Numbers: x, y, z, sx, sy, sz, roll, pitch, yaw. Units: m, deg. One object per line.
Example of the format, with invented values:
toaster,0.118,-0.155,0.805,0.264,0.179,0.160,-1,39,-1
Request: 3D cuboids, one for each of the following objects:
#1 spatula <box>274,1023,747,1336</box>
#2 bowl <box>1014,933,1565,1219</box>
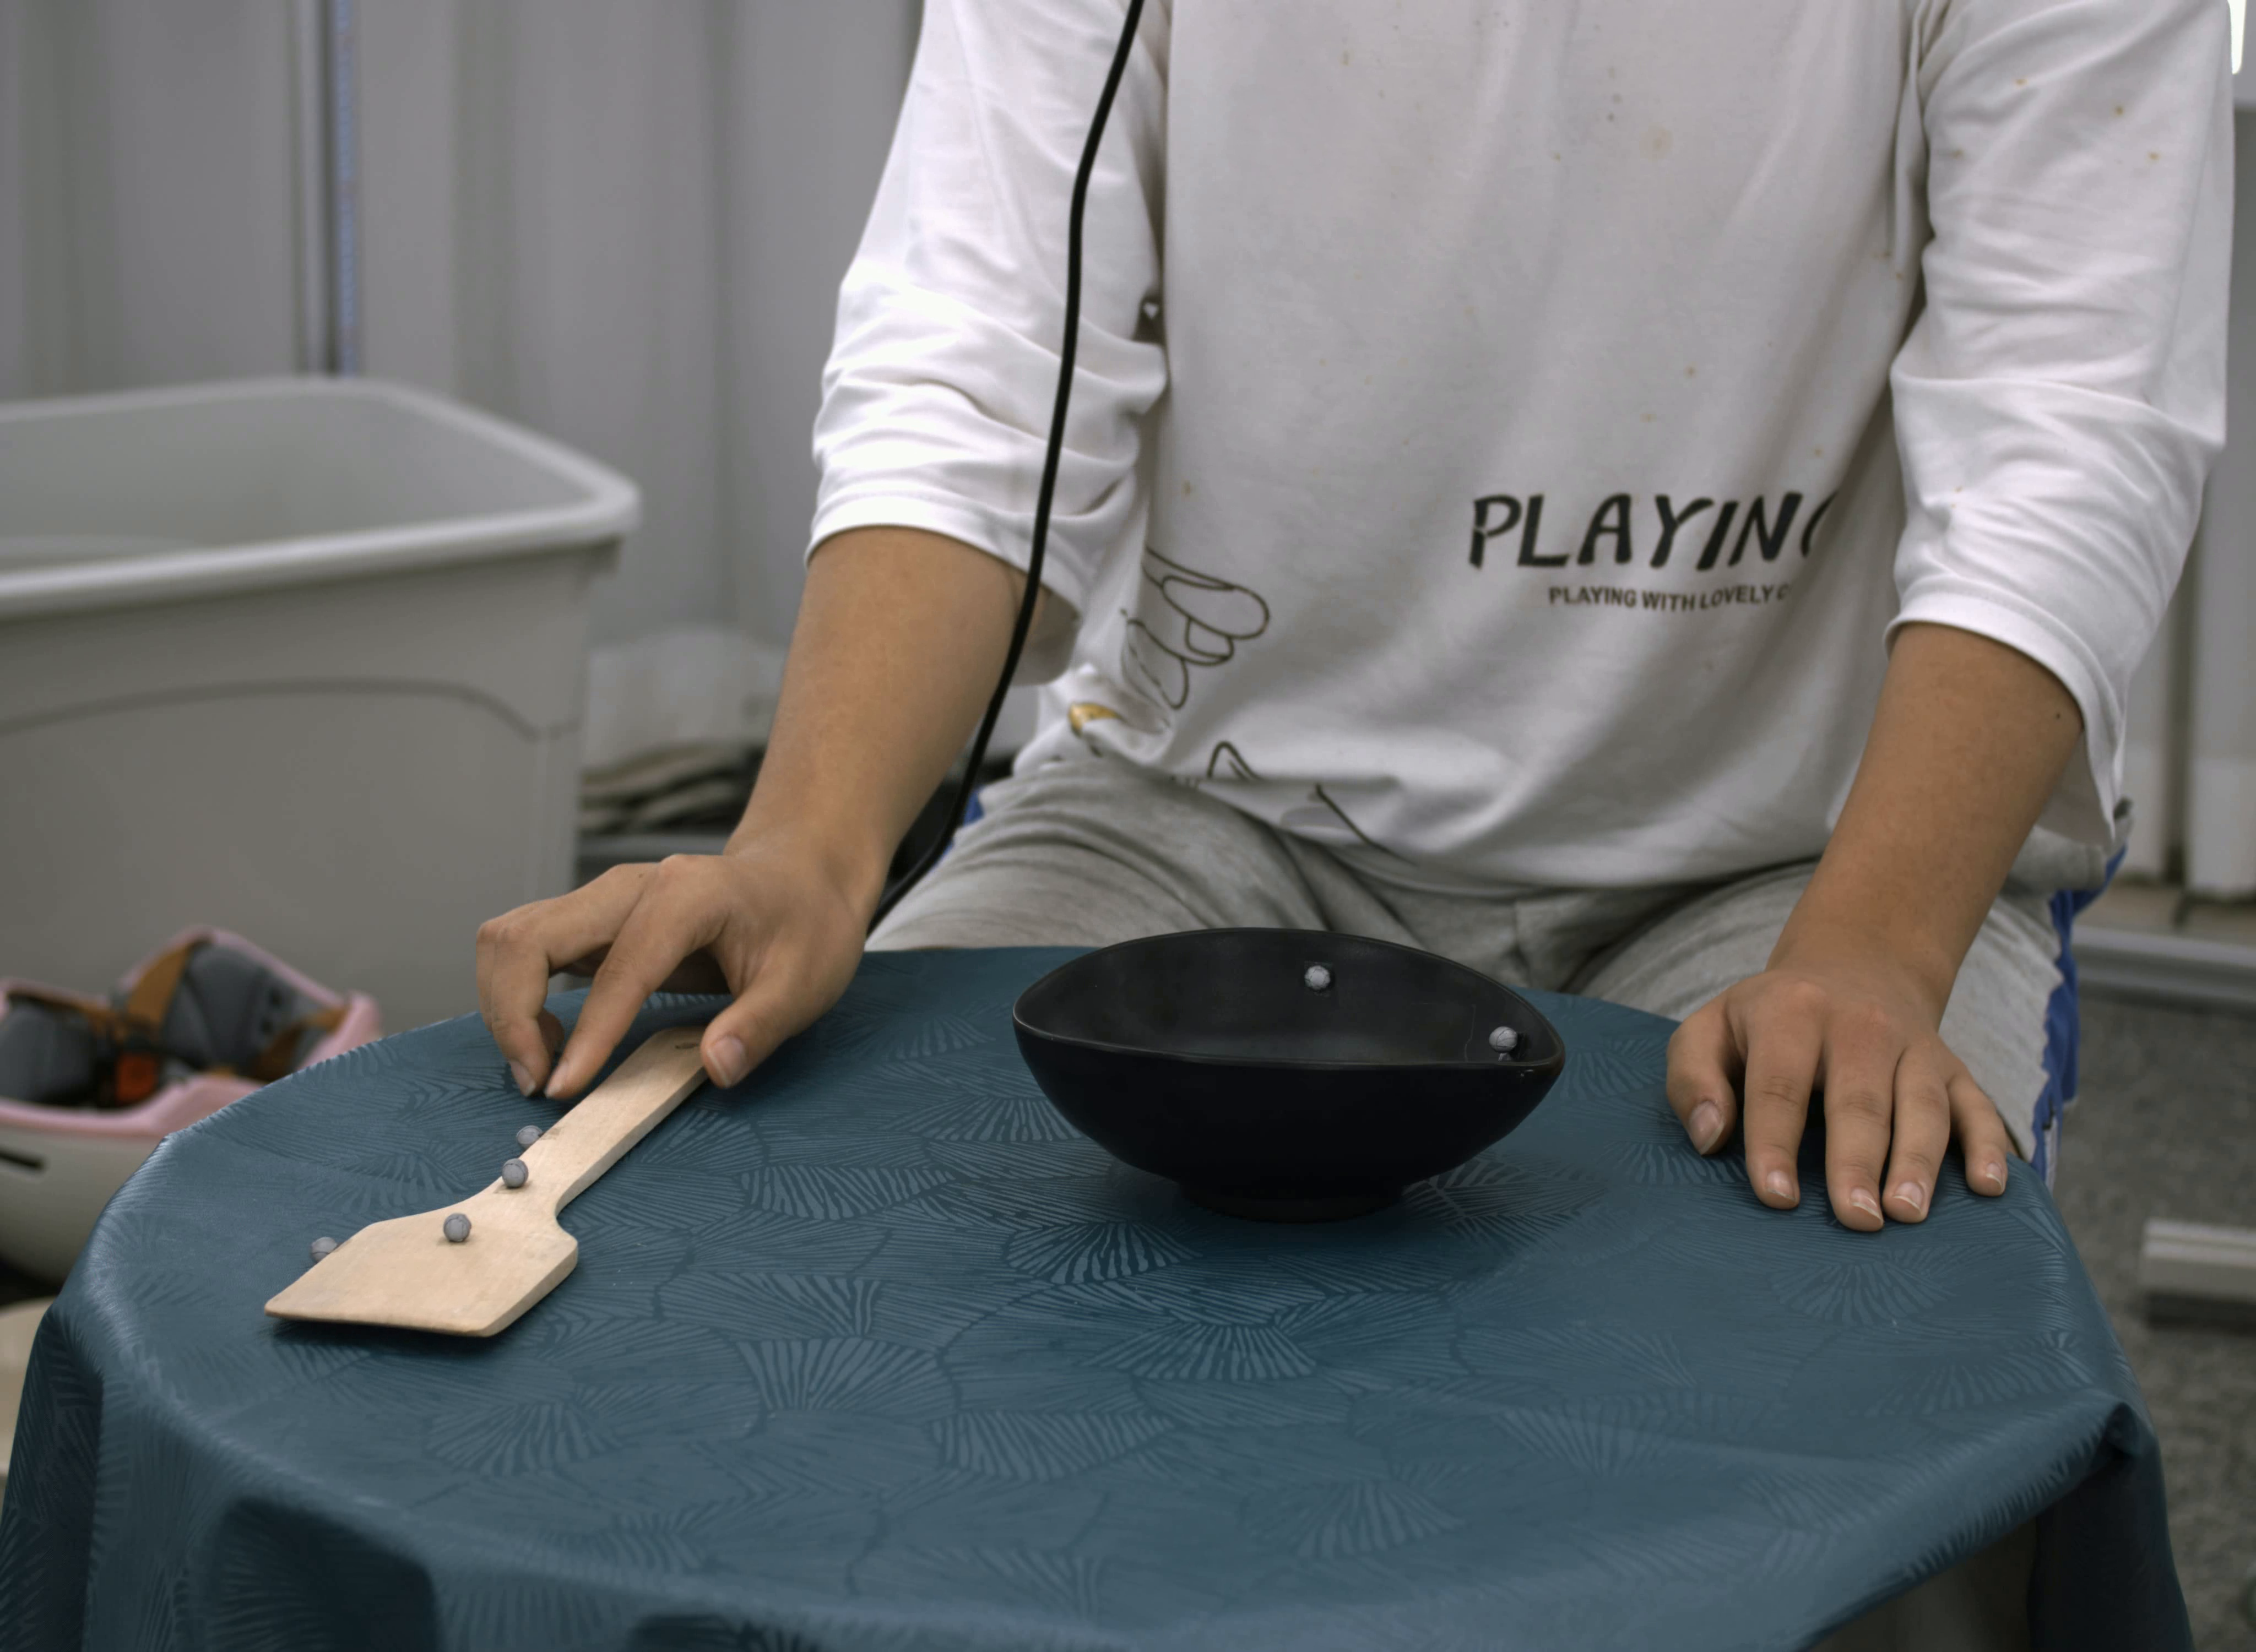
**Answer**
spatula,-0.176,0.106,1.626,0.072,0.011,0.293,3,16,14
bowl,0.049,0.081,1.627,0.170,0.067,0.136,3,15,0
